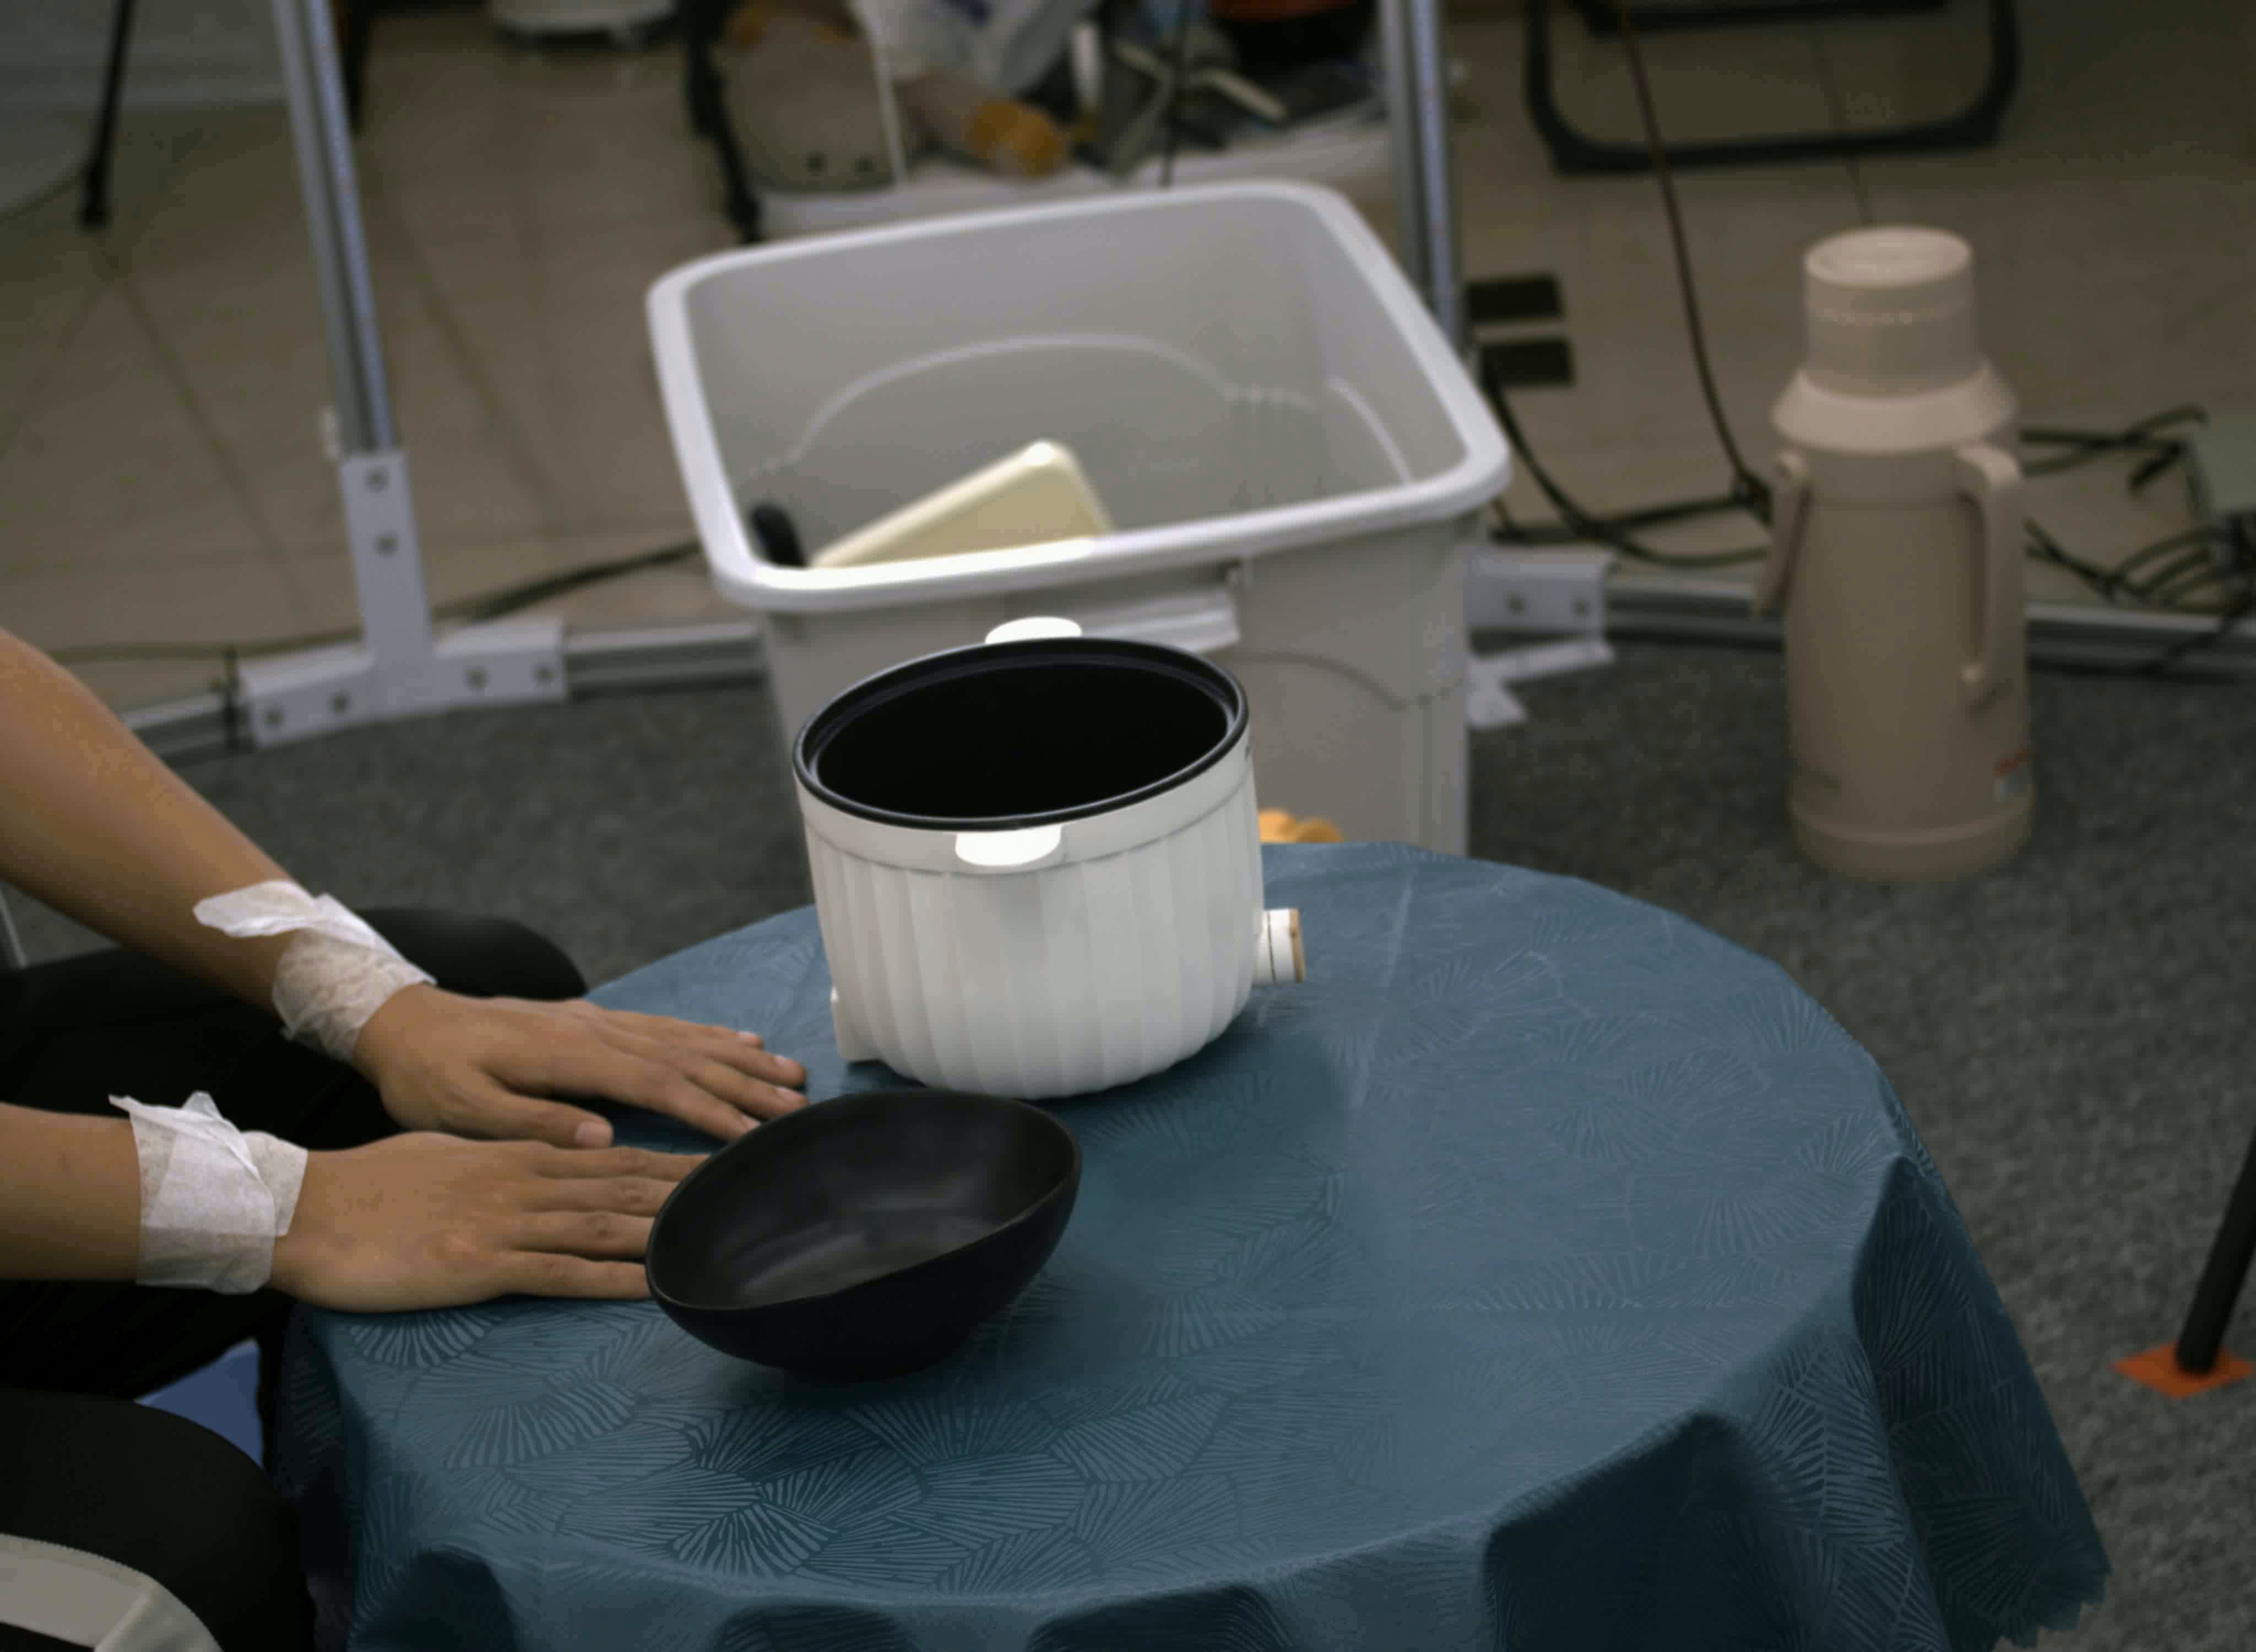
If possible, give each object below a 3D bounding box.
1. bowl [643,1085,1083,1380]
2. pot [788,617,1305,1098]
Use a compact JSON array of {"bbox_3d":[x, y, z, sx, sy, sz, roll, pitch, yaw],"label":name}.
[{"bbox_3d":[-0.092,0.157,2.059,0.169,0.068,0.136,-23,28,-29],"label":"bowl"},{"bbox_3d":[-0.031,0.019,2.251,0.190,0.145,0.237,-8,26,5],"label":"pot"}]
